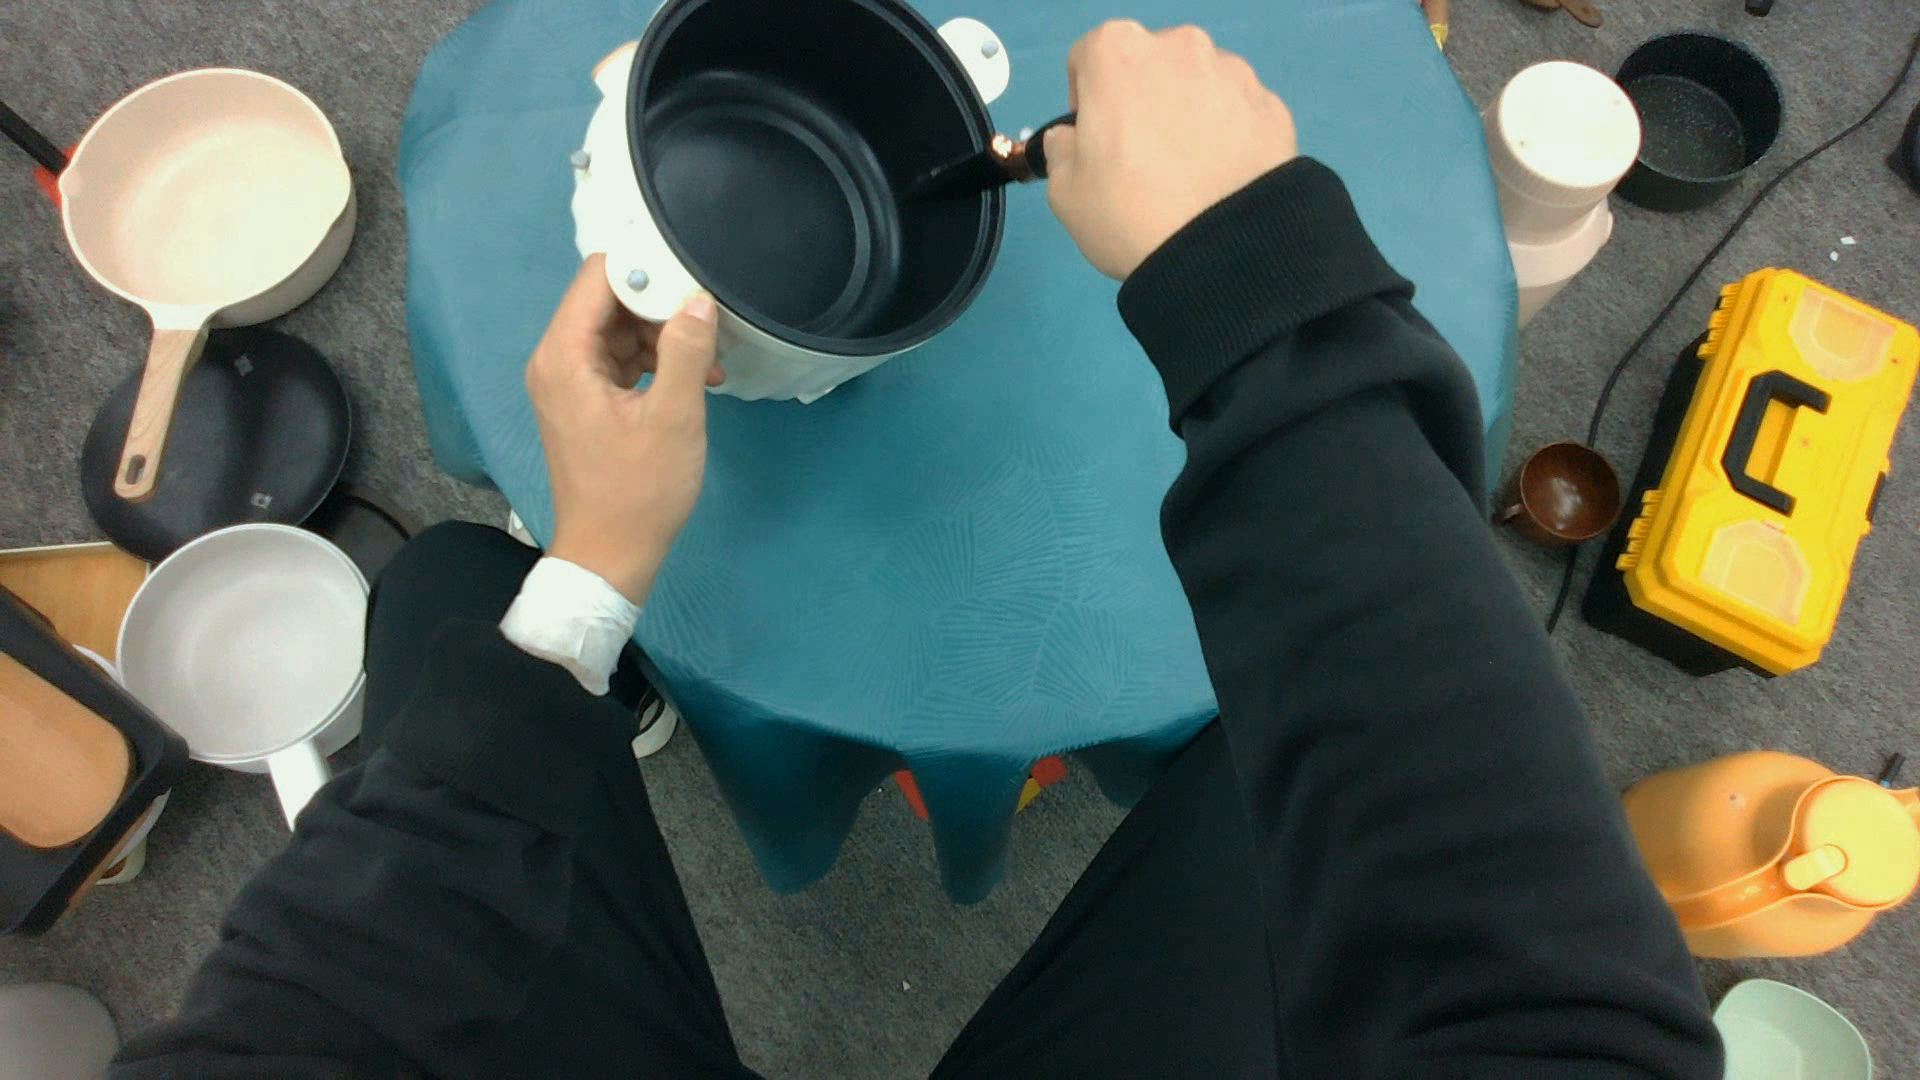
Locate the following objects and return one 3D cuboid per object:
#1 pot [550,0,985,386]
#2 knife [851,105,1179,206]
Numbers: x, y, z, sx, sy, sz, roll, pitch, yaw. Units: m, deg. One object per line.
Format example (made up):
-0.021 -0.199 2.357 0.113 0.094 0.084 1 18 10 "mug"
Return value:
-0.104 -0.170 0.659 0.241 0.142 0.190 -46 109 -30 "pot"
0.014 -0.165 0.610 0.026 0.225 0.017 -4 96 -34 "knife"
